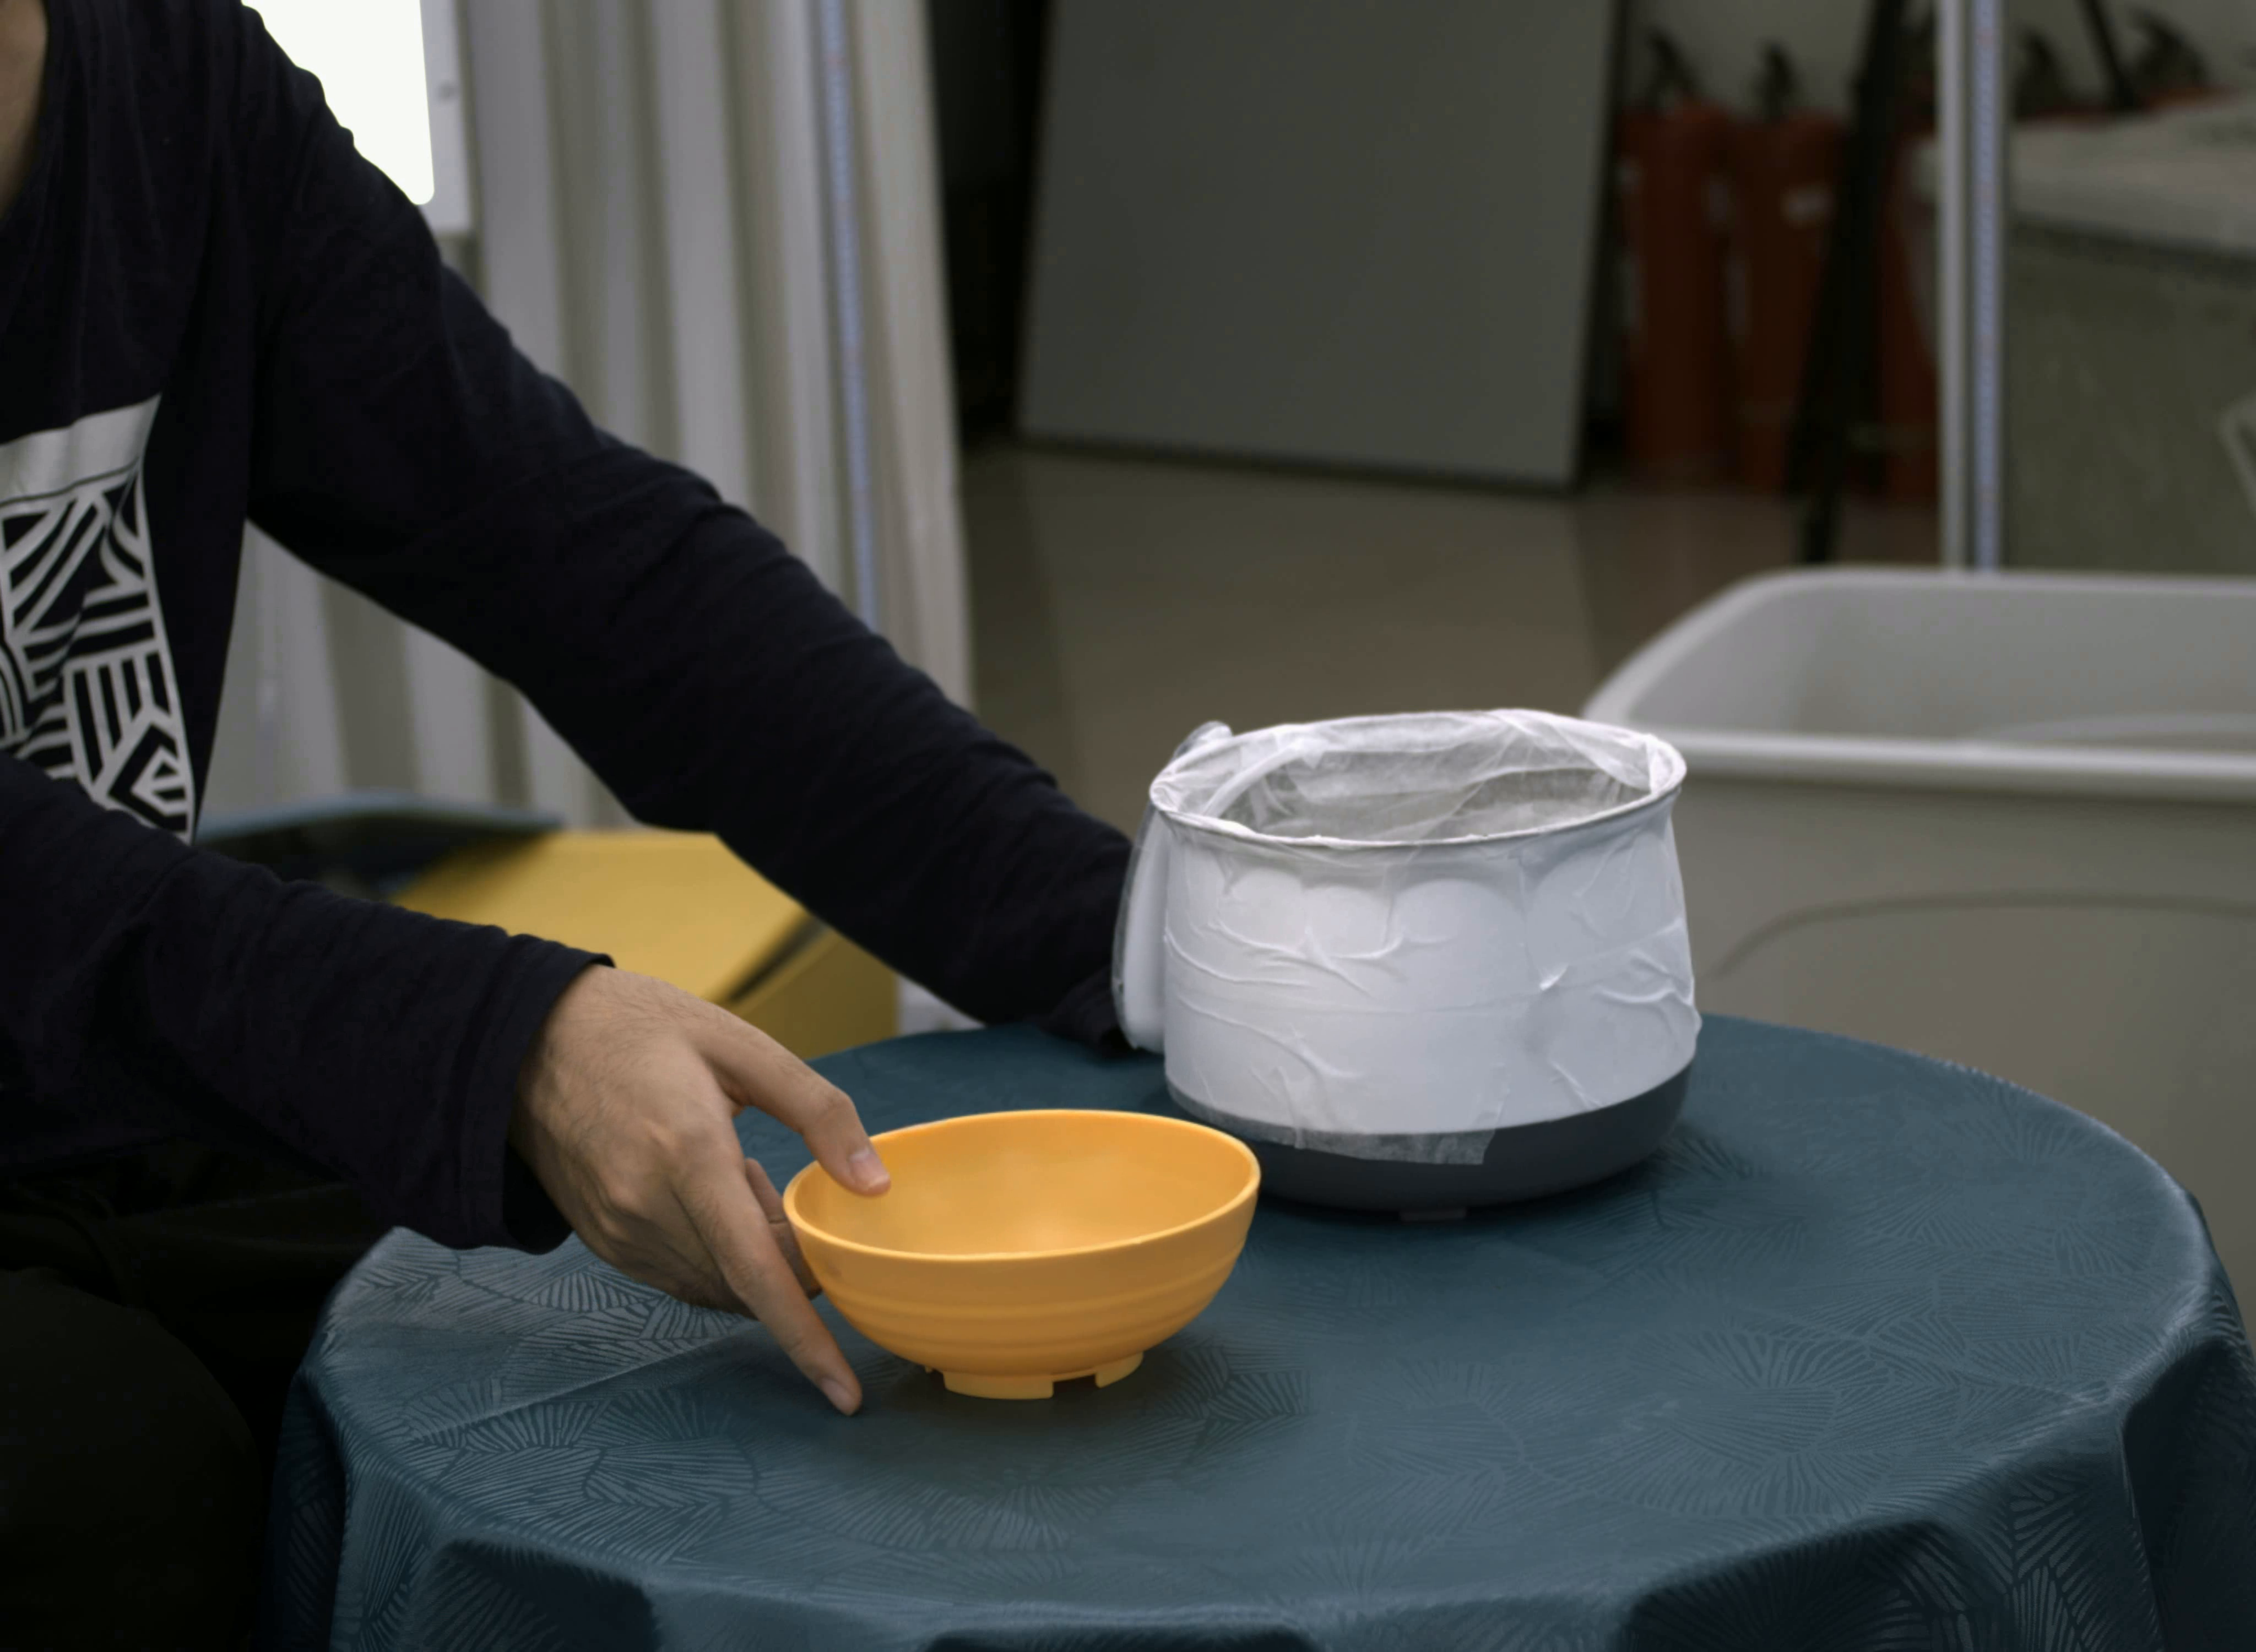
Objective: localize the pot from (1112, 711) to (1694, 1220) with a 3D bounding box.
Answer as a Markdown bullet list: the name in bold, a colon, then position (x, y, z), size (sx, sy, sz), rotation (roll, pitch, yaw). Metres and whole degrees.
- **pot**: position (0.079, 0.040, 1.792), size (0.175, 0.138, 0.236), rotation (-12, 16, -41)

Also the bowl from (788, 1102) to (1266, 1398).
- **bowl**: position (-0.027, 0.132, 1.607), size (0.143, 0.061, 0.145), rotation (-6, 14, 0)
